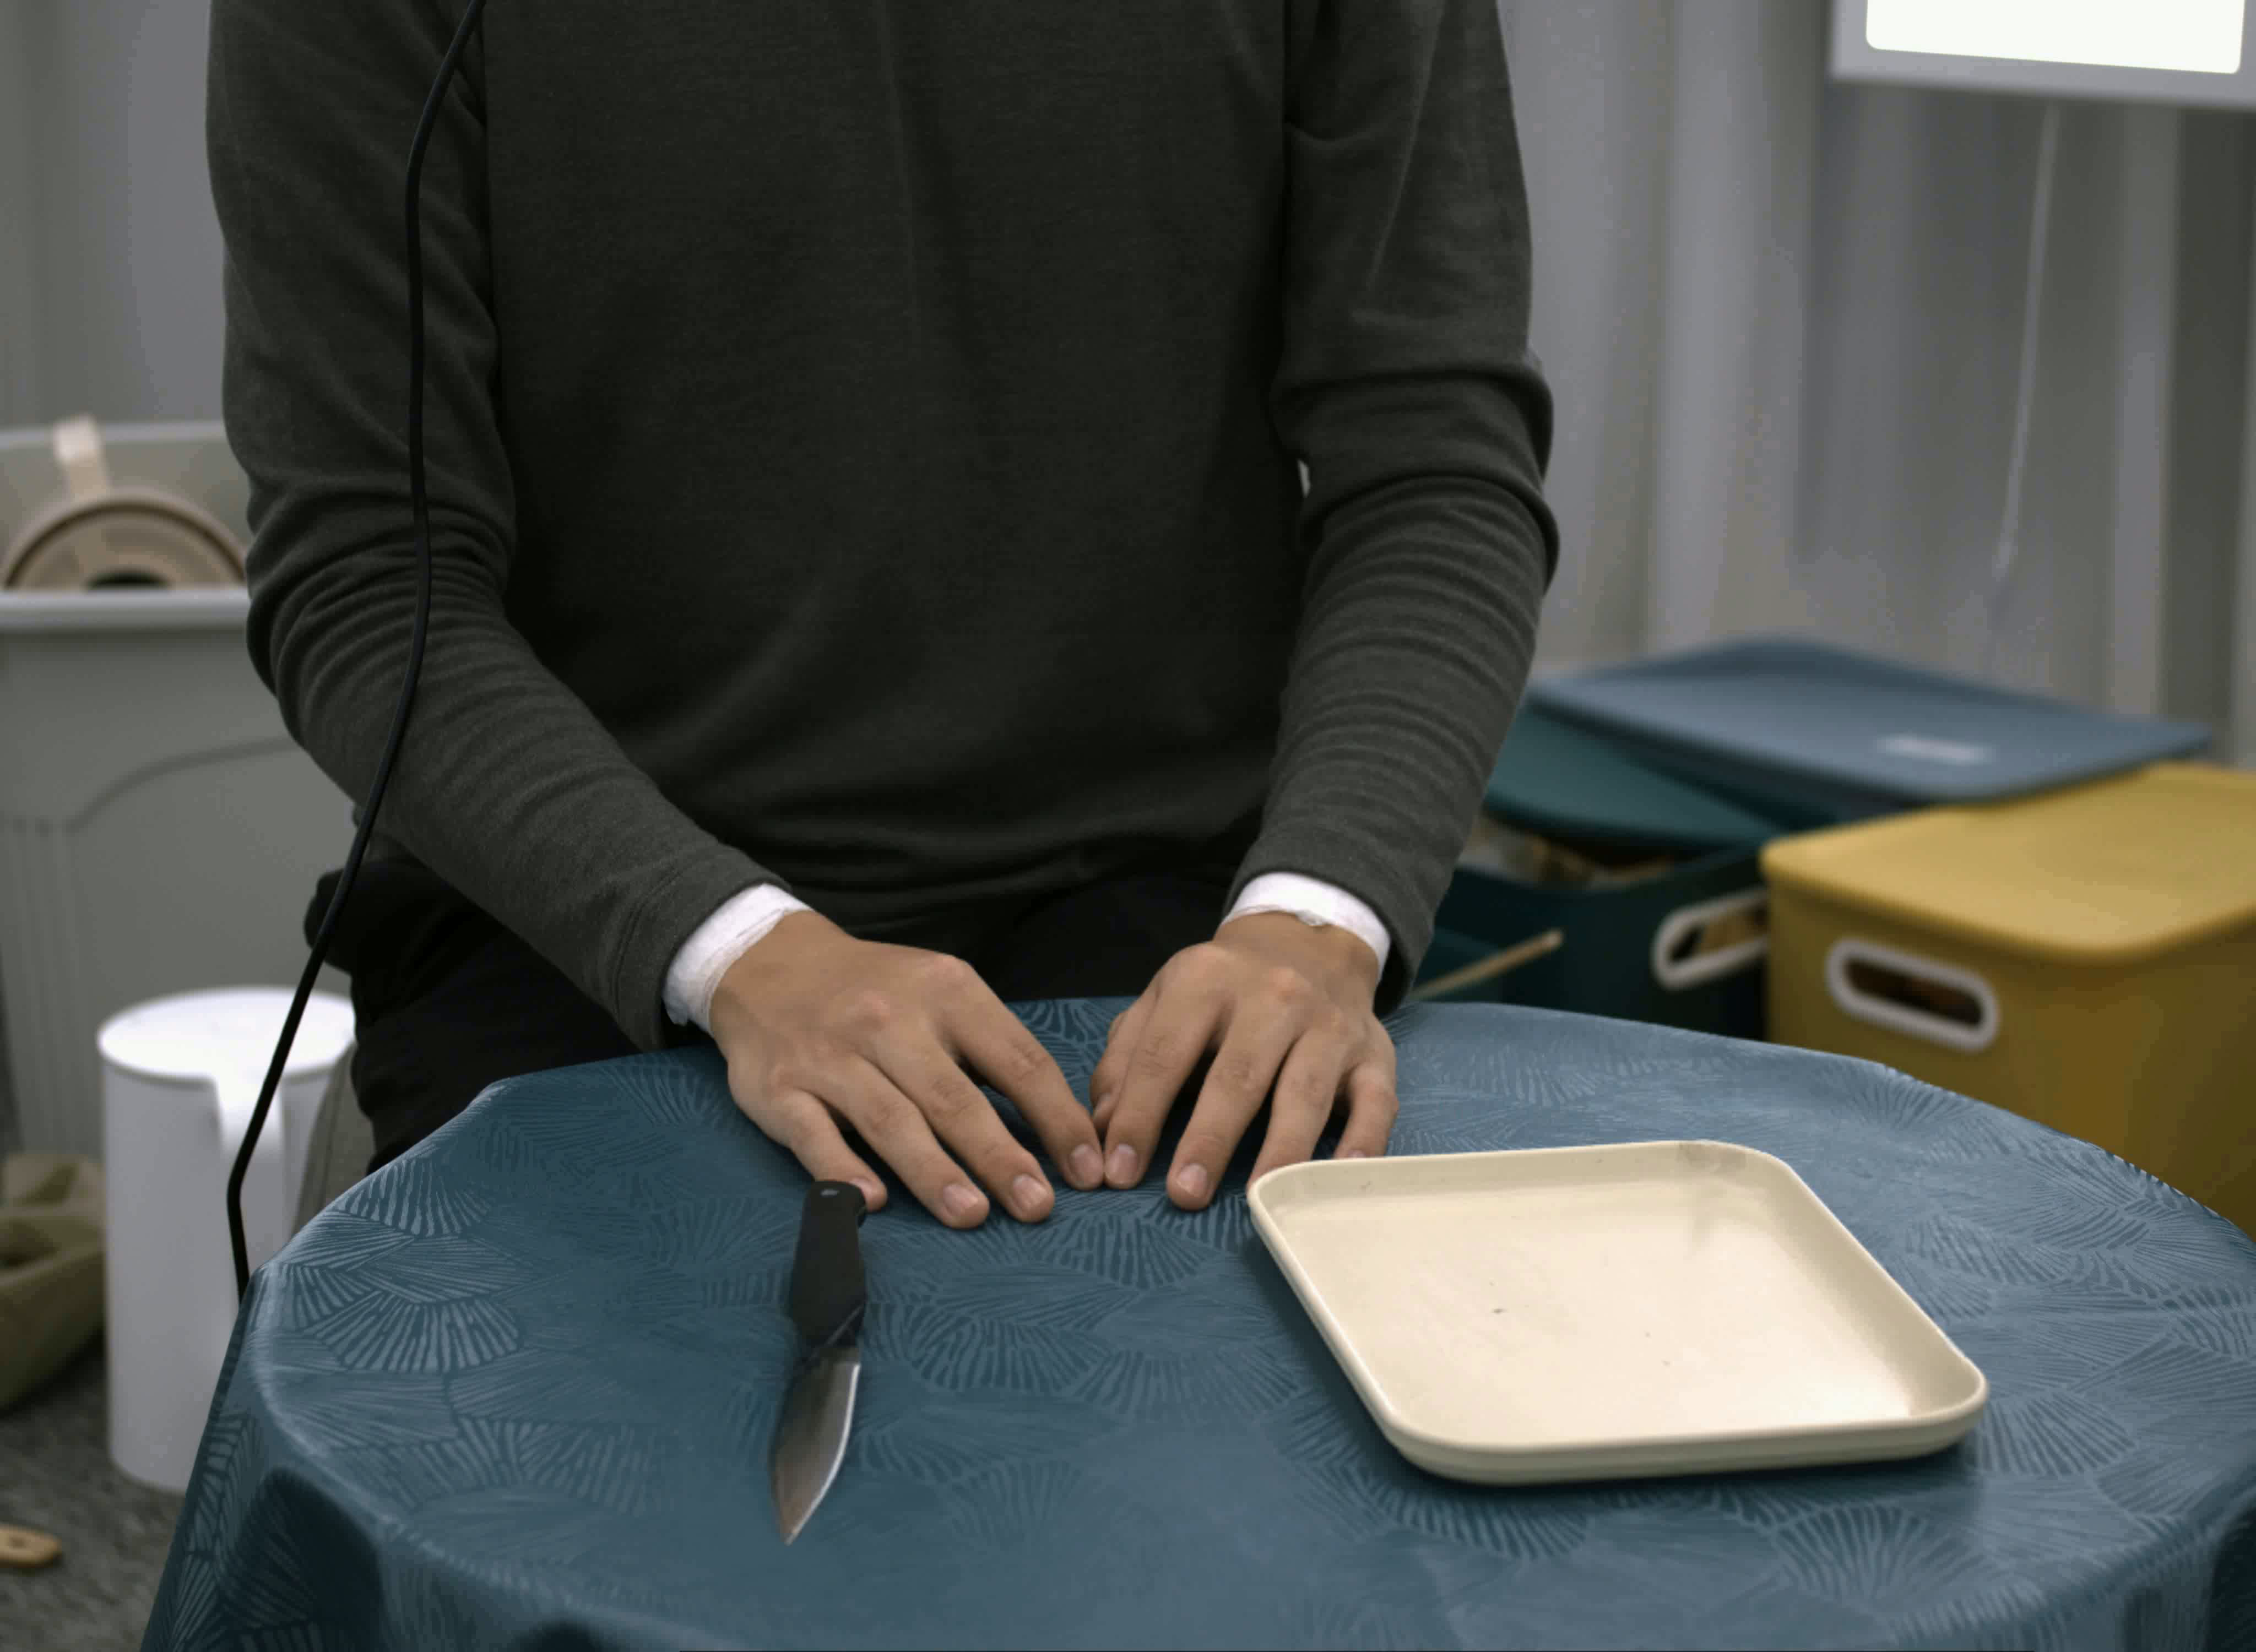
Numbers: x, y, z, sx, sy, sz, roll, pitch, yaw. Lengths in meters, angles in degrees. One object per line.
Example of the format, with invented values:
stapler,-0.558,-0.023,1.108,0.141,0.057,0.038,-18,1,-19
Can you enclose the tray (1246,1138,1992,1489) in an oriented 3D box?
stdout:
tray,0.135,0.137,1.506,0.171,0.017,0.237,-3,16,-10

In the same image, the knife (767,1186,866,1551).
knife,-0.088,0.149,1.466,0.024,0.016,0.236,-1,18,0
